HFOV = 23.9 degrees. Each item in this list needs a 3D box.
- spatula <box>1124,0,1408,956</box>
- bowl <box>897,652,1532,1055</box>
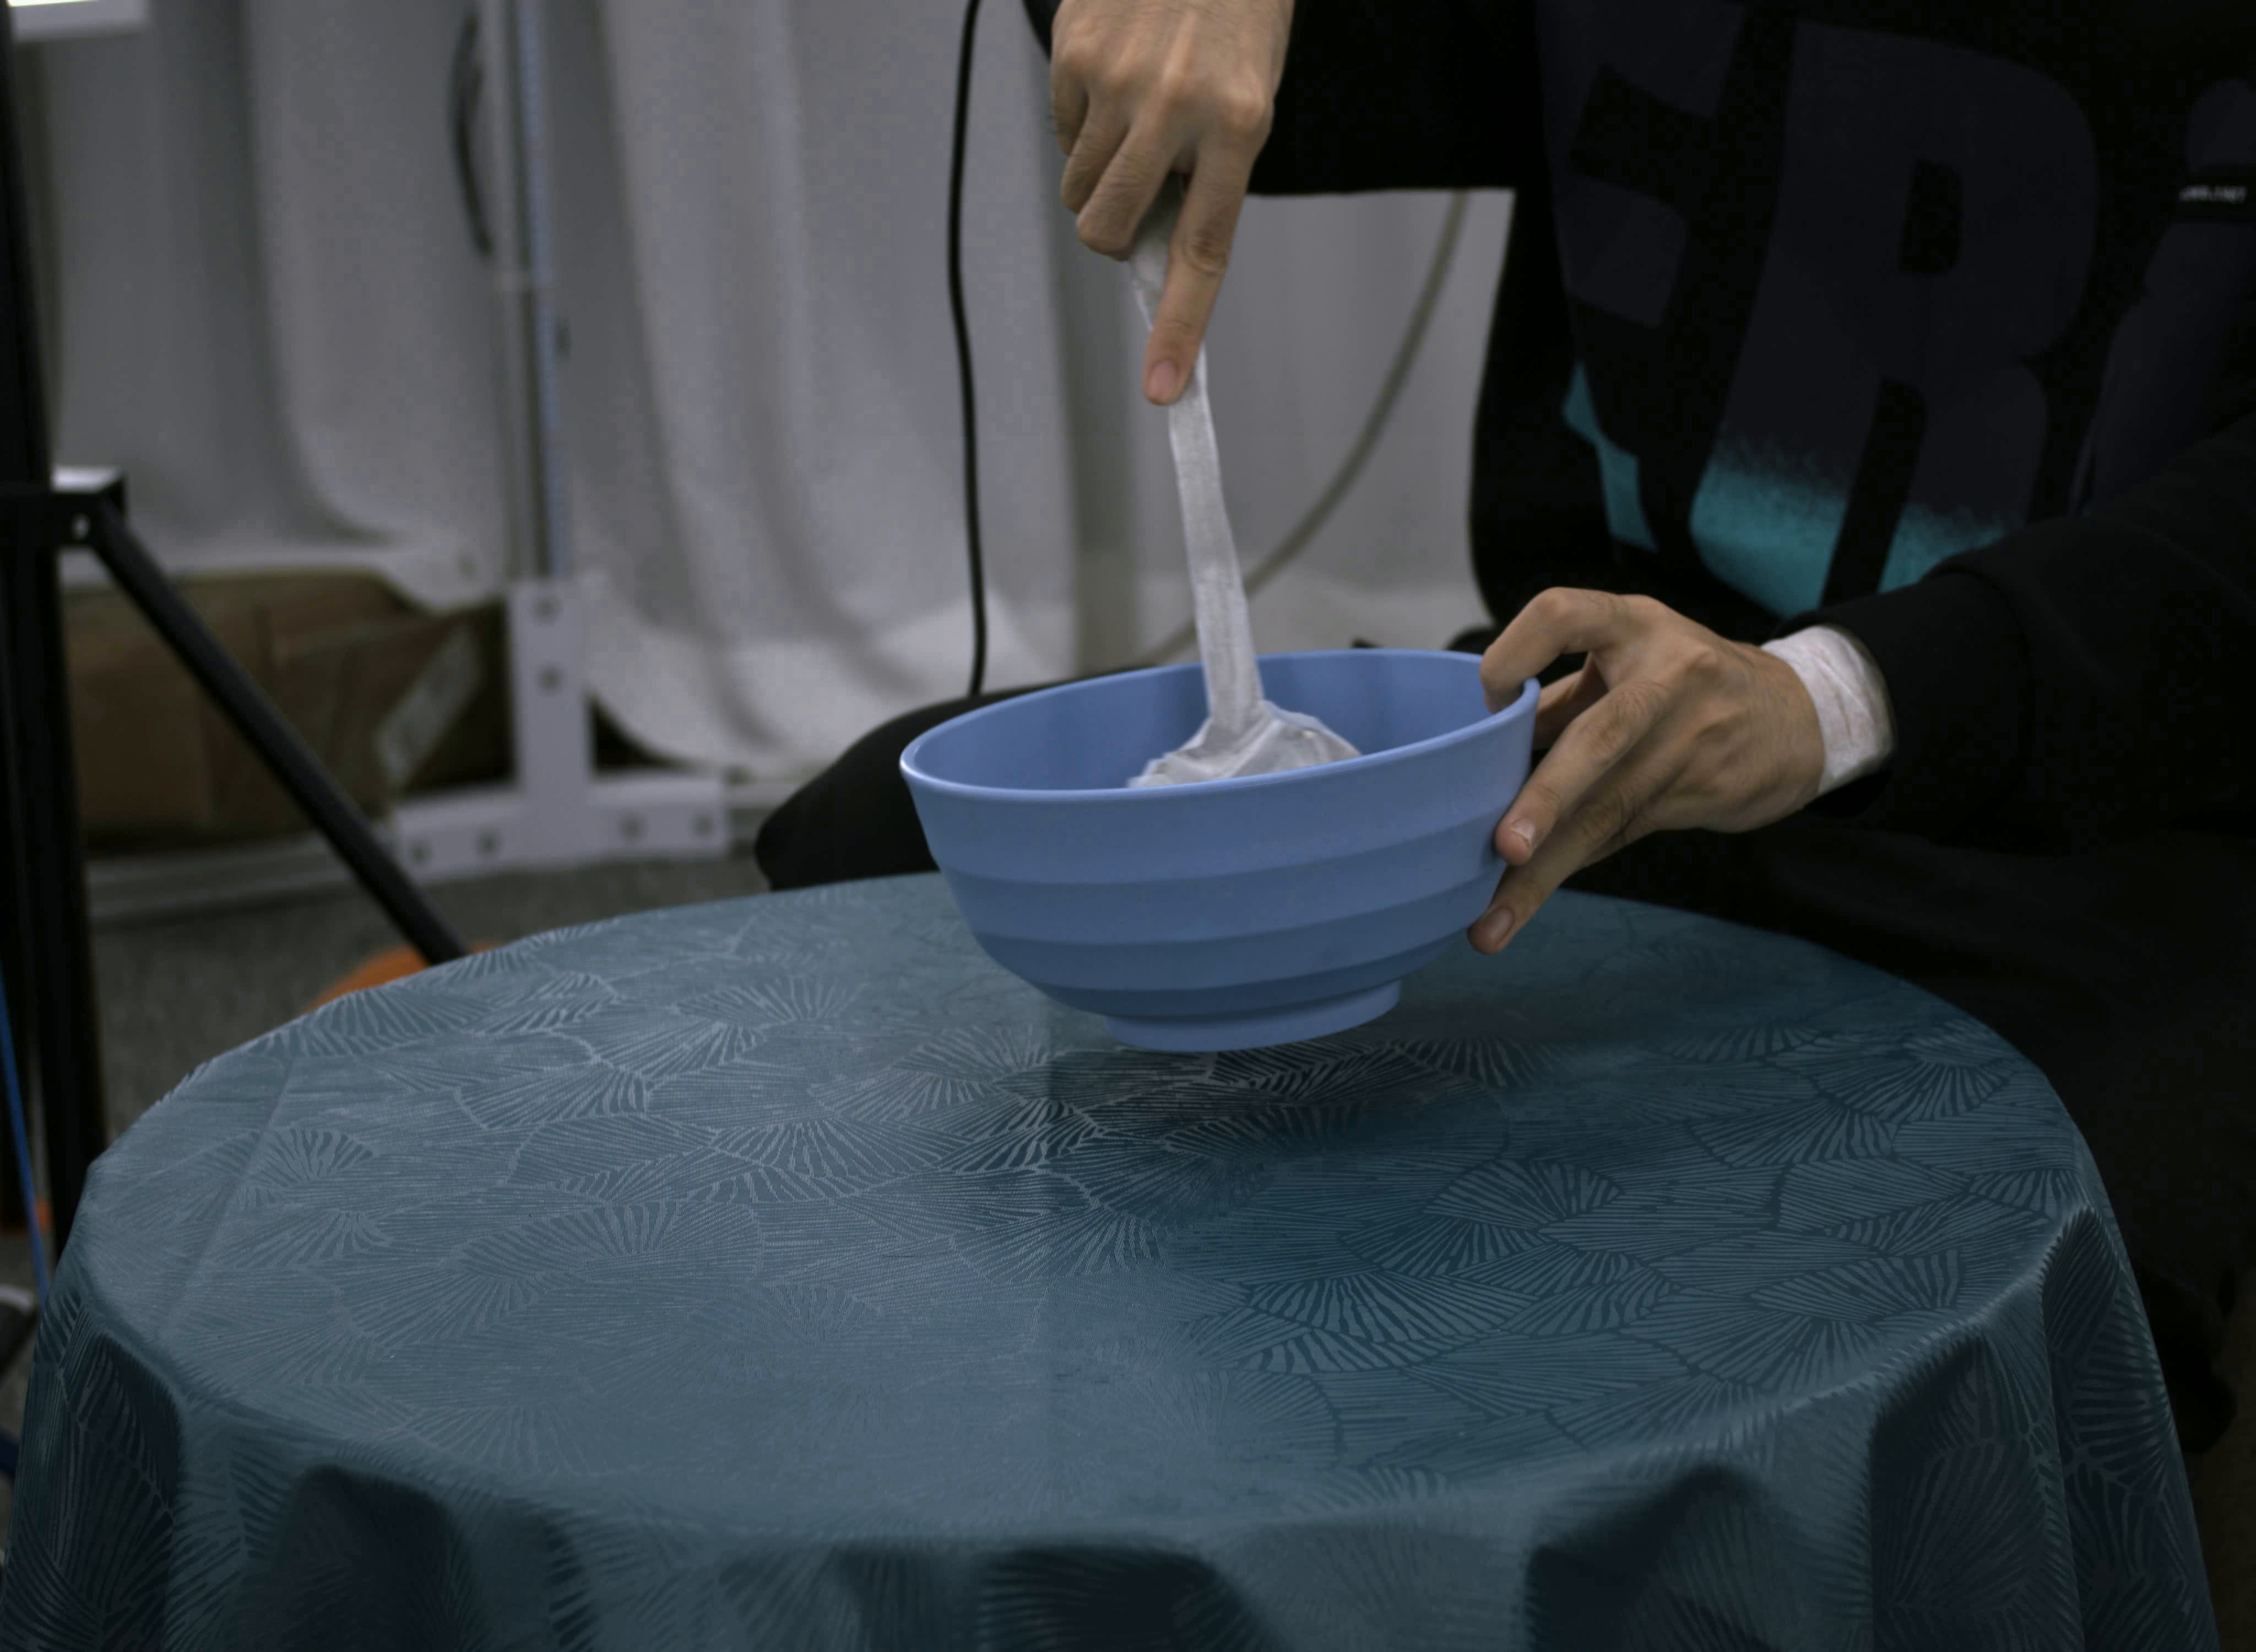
[{"bbox_3d":[0.027,-0.116,1.686,0.099,0.369,0.044,-10,-17,7],"label":"spatula"},{"bbox_3d":[0.033,0.013,1.631,0.195,0.095,0.197,-9,11,0],"label":"bowl"}]
